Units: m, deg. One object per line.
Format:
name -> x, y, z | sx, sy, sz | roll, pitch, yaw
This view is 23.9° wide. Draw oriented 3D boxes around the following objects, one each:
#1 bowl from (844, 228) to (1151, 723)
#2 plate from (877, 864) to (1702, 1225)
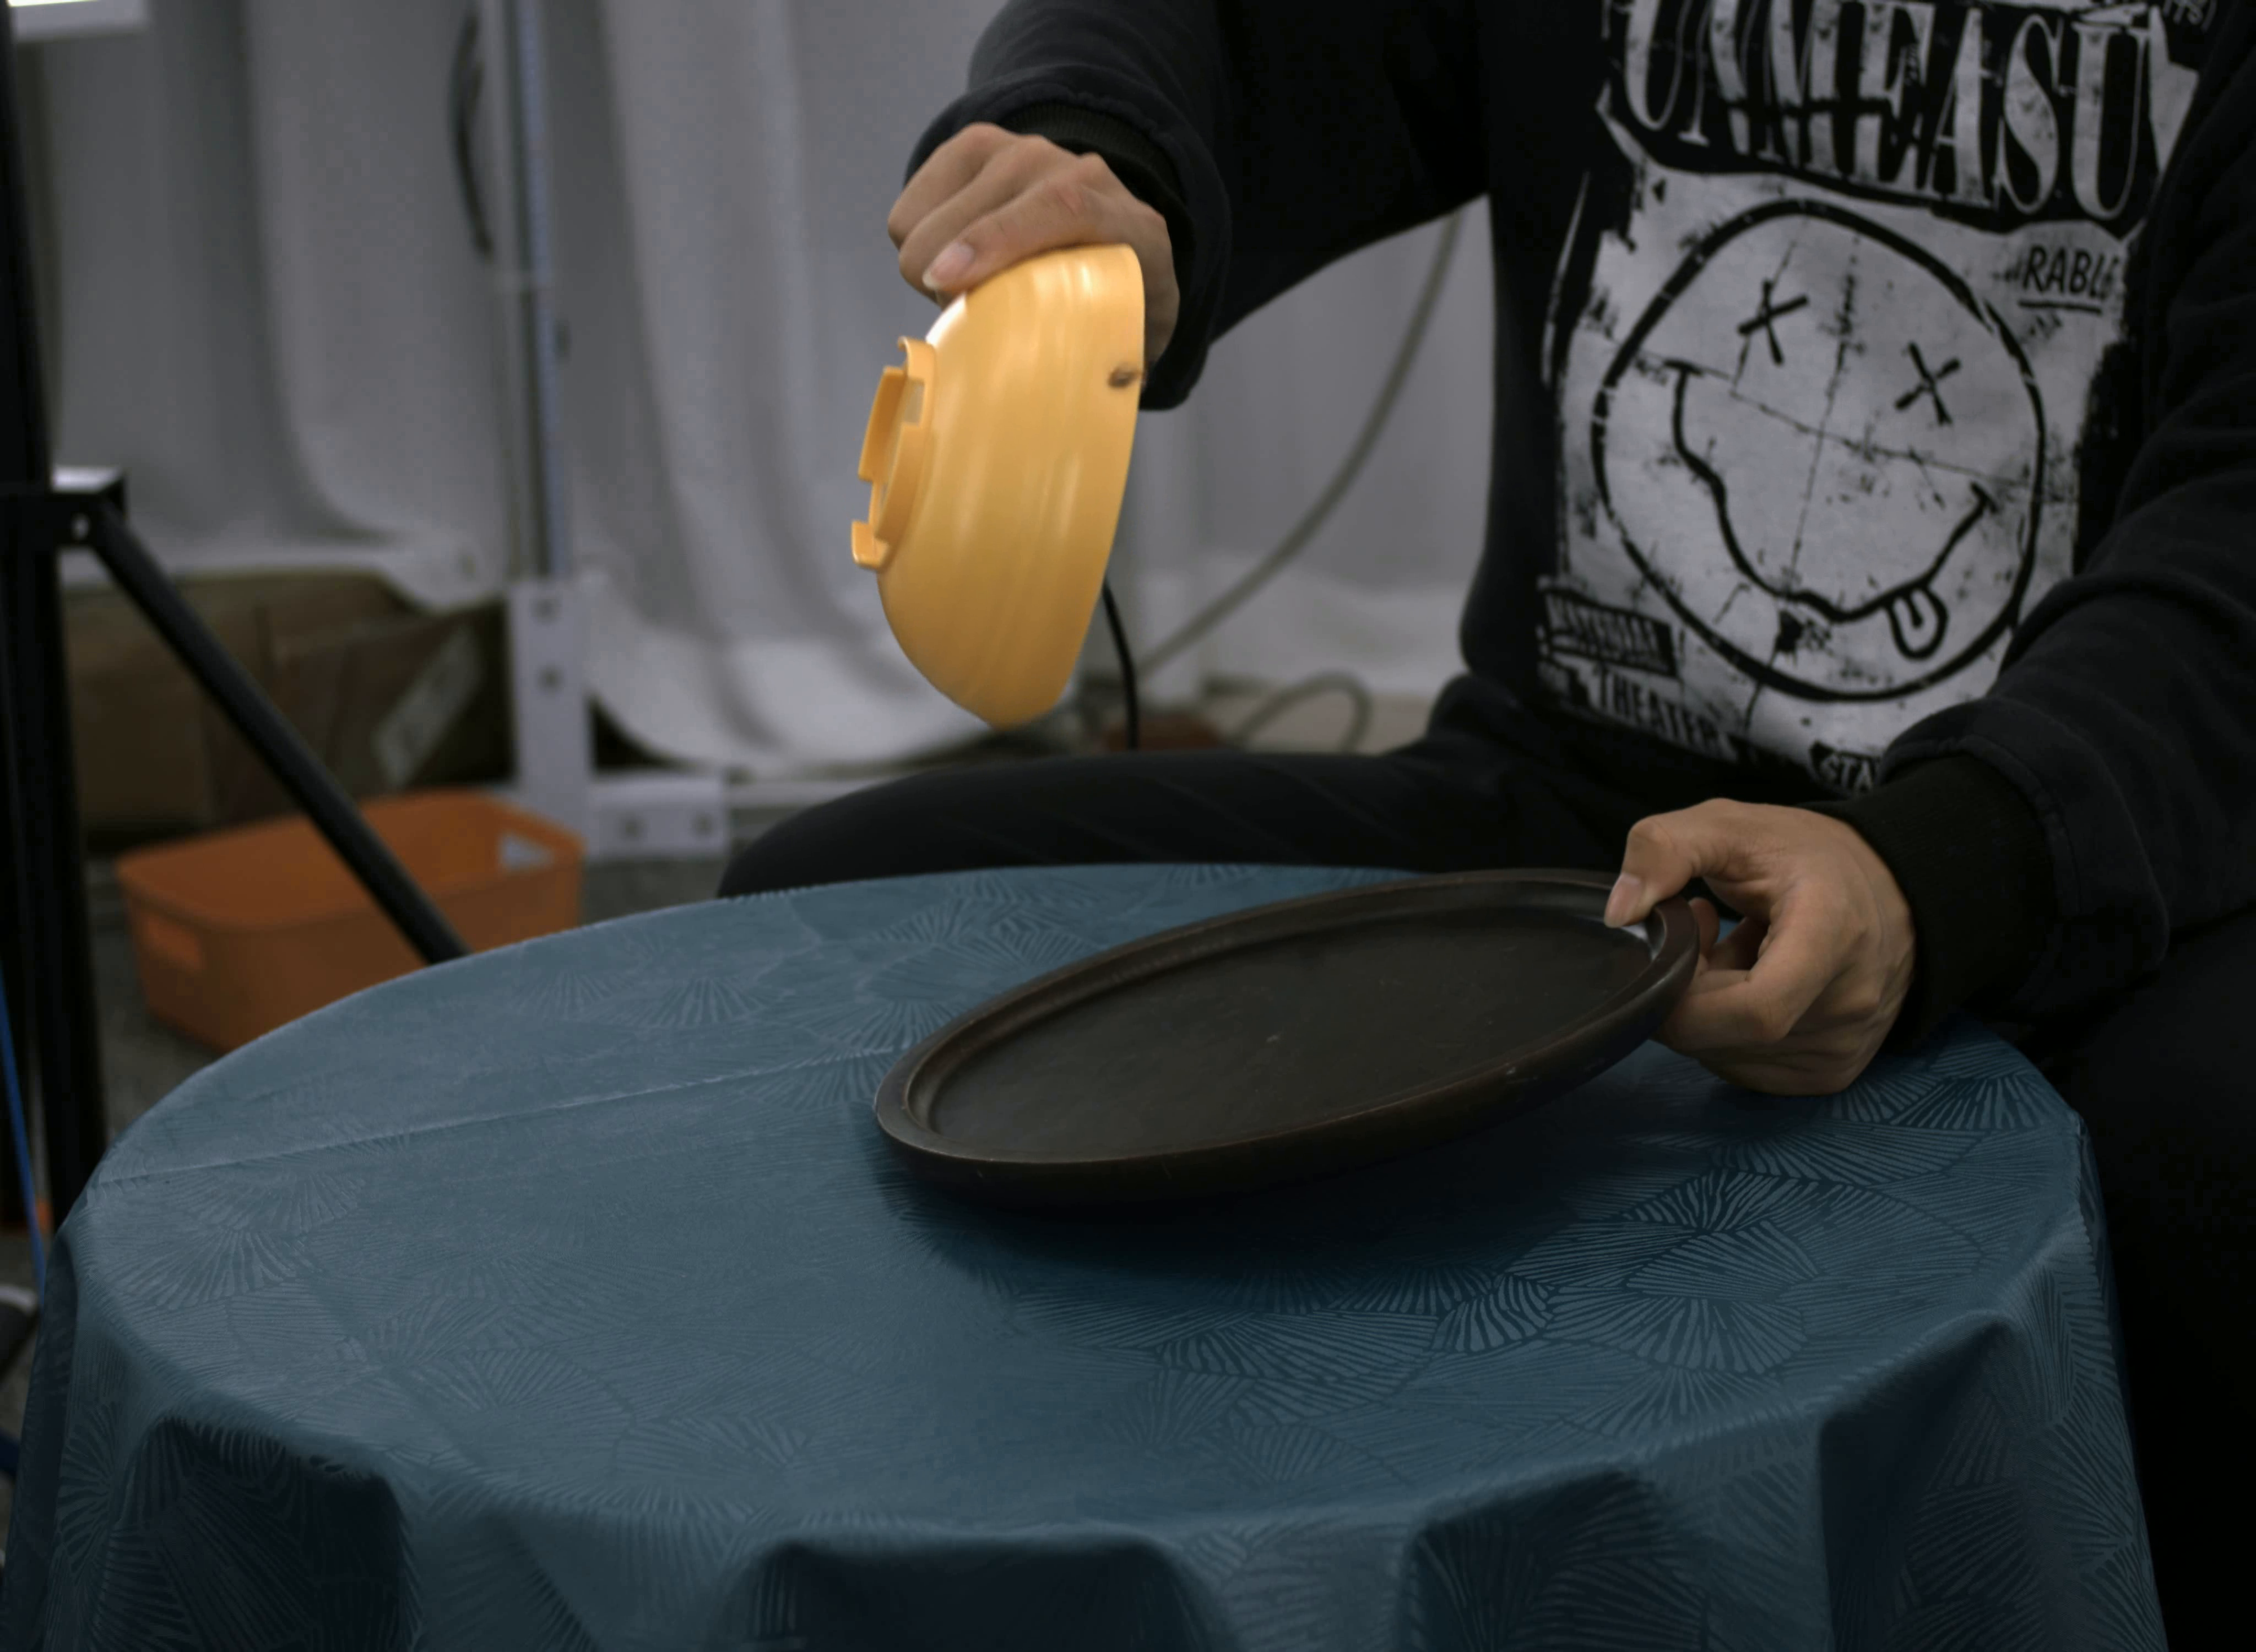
bowl -> -0.044, -0.105, 1.519 | 0.059, 0.146, 0.147 | 11, 13, -14
plate -> 0.049, 0.064, 1.585 | 0.254, 0.029, 0.256 | -15, 12, 2
